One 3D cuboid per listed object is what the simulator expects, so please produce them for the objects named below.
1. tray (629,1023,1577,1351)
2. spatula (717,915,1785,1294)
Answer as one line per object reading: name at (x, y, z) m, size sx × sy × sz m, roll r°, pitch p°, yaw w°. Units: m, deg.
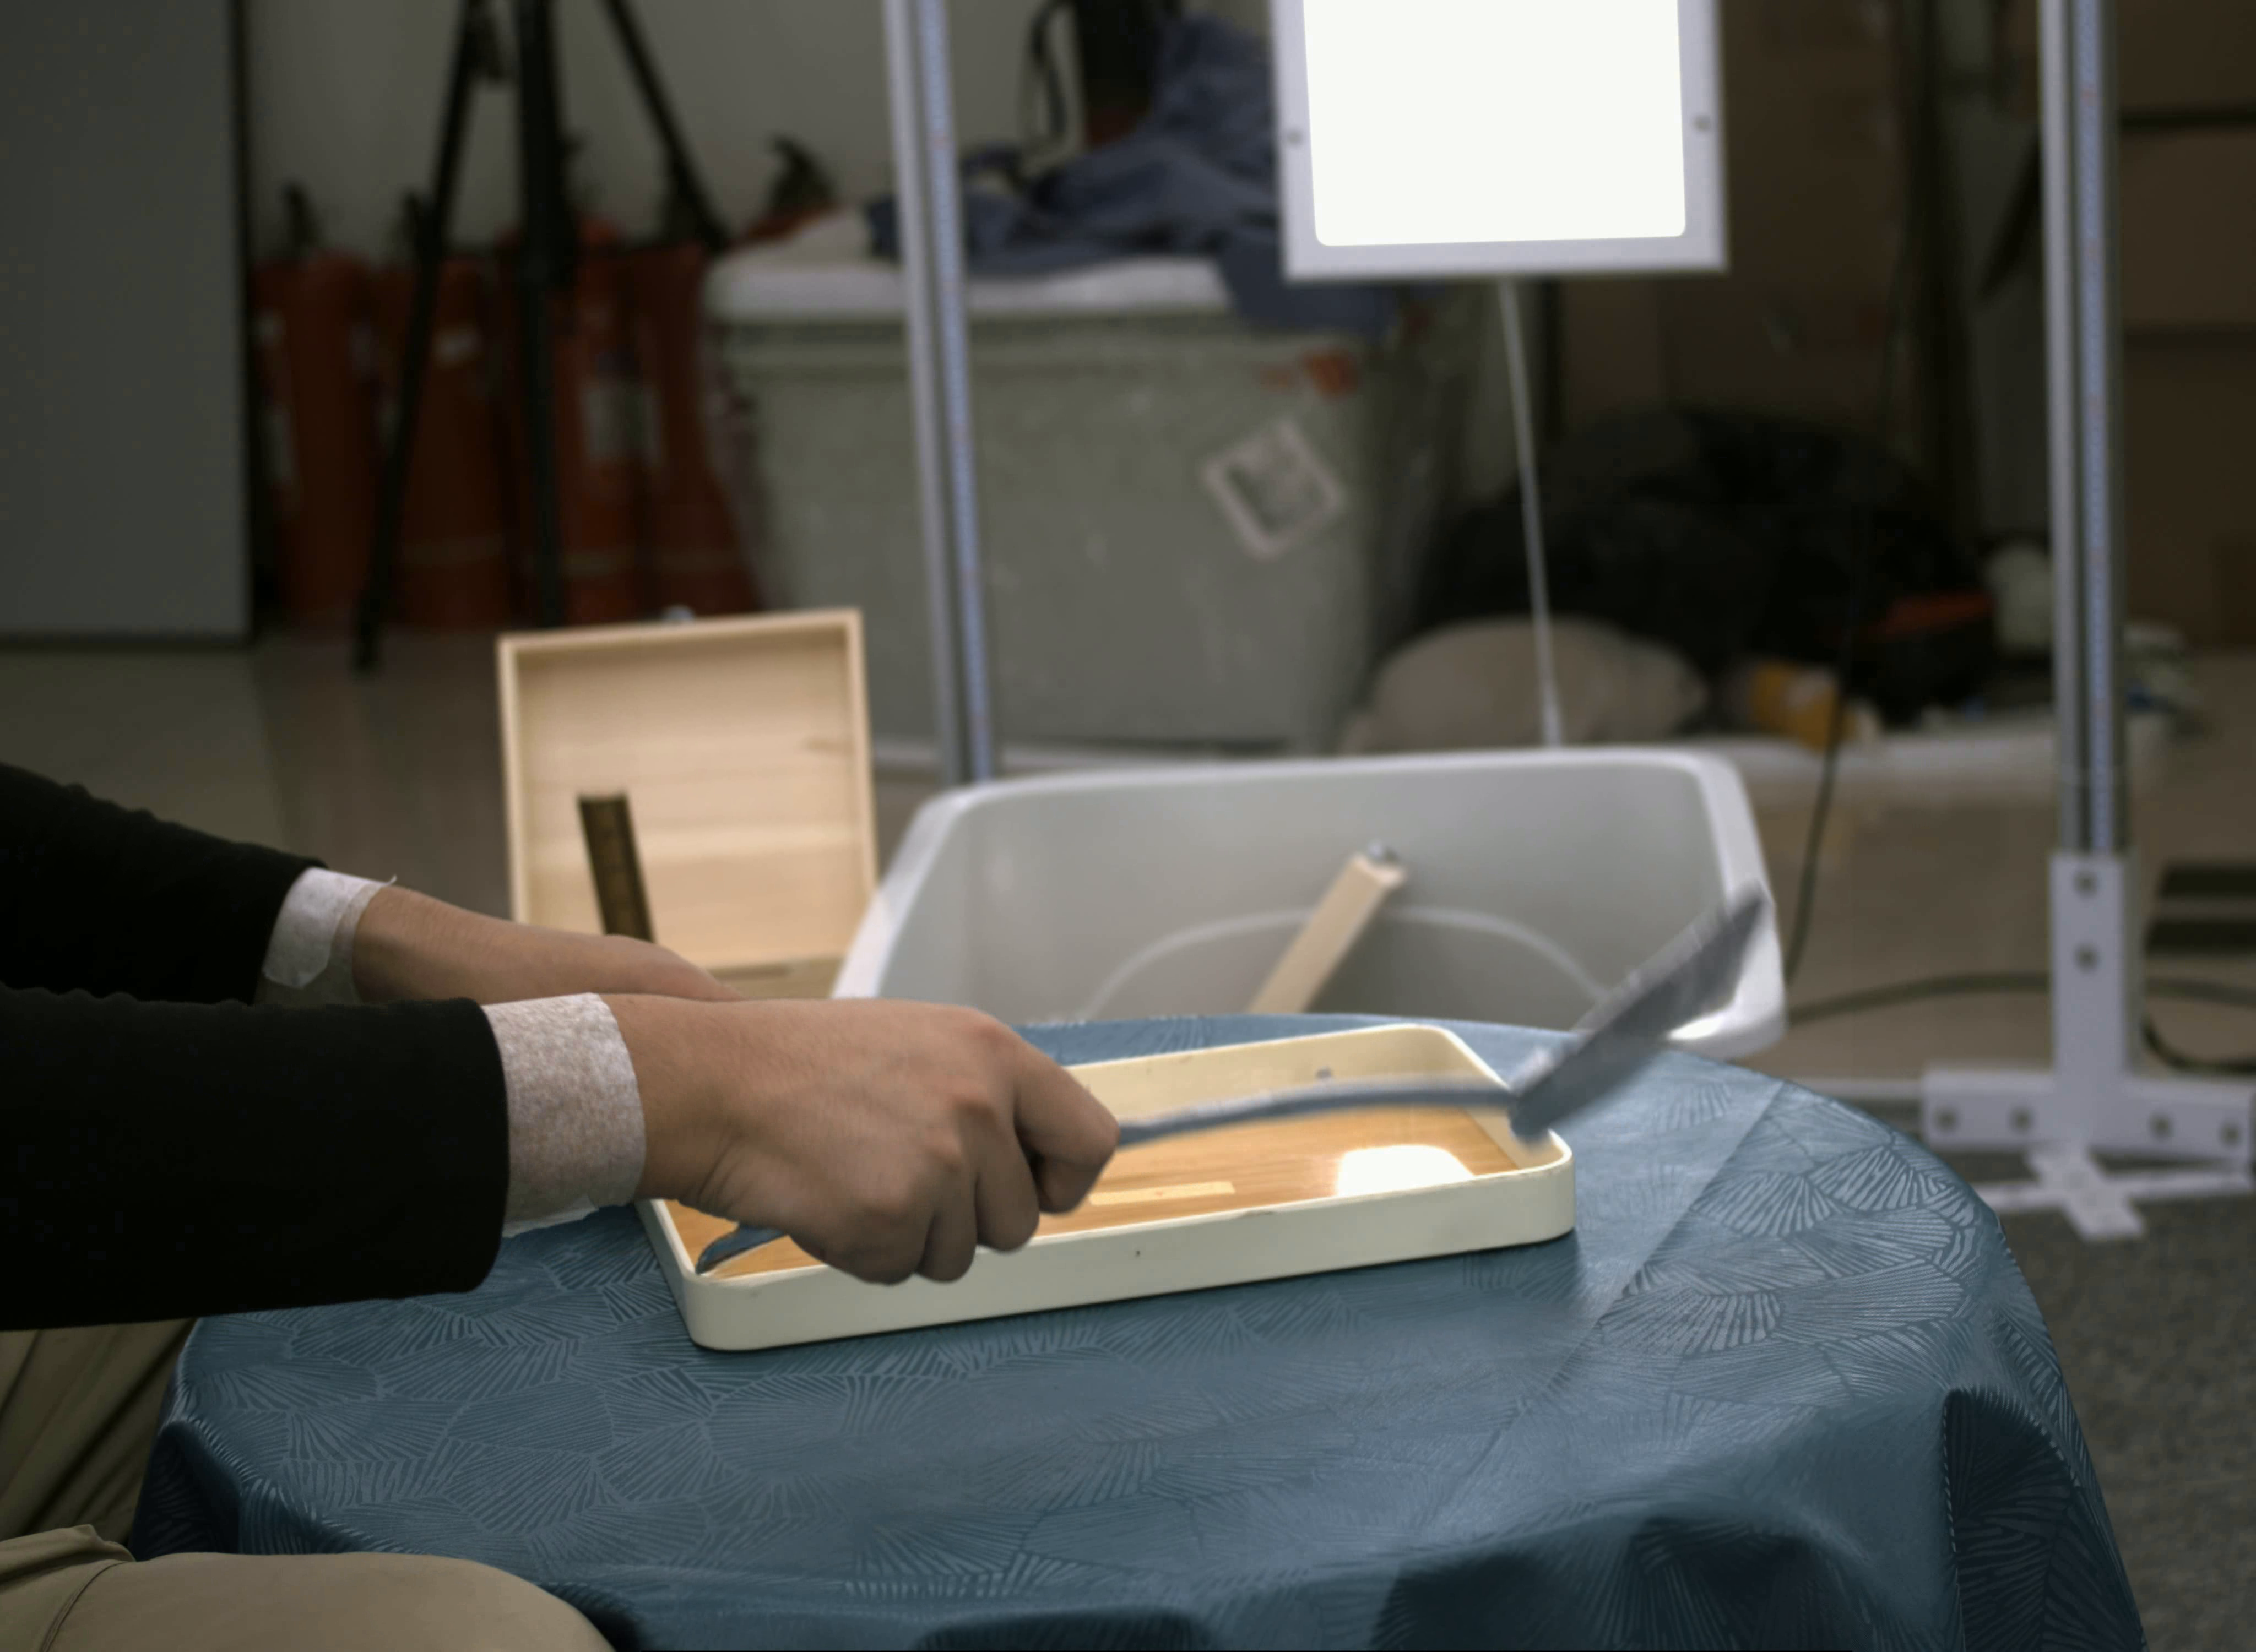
tray at (-0.012, 0.120, 1.872) m, size 0.297 × 0.027 × 0.192 m, roll -7°, pitch 14°, yaw -8°
spatula at (0.042, 0.090, 1.663) m, size 0.358 × 0.045 × 0.100 m, roll -8°, pitch -30°, yaw -21°
